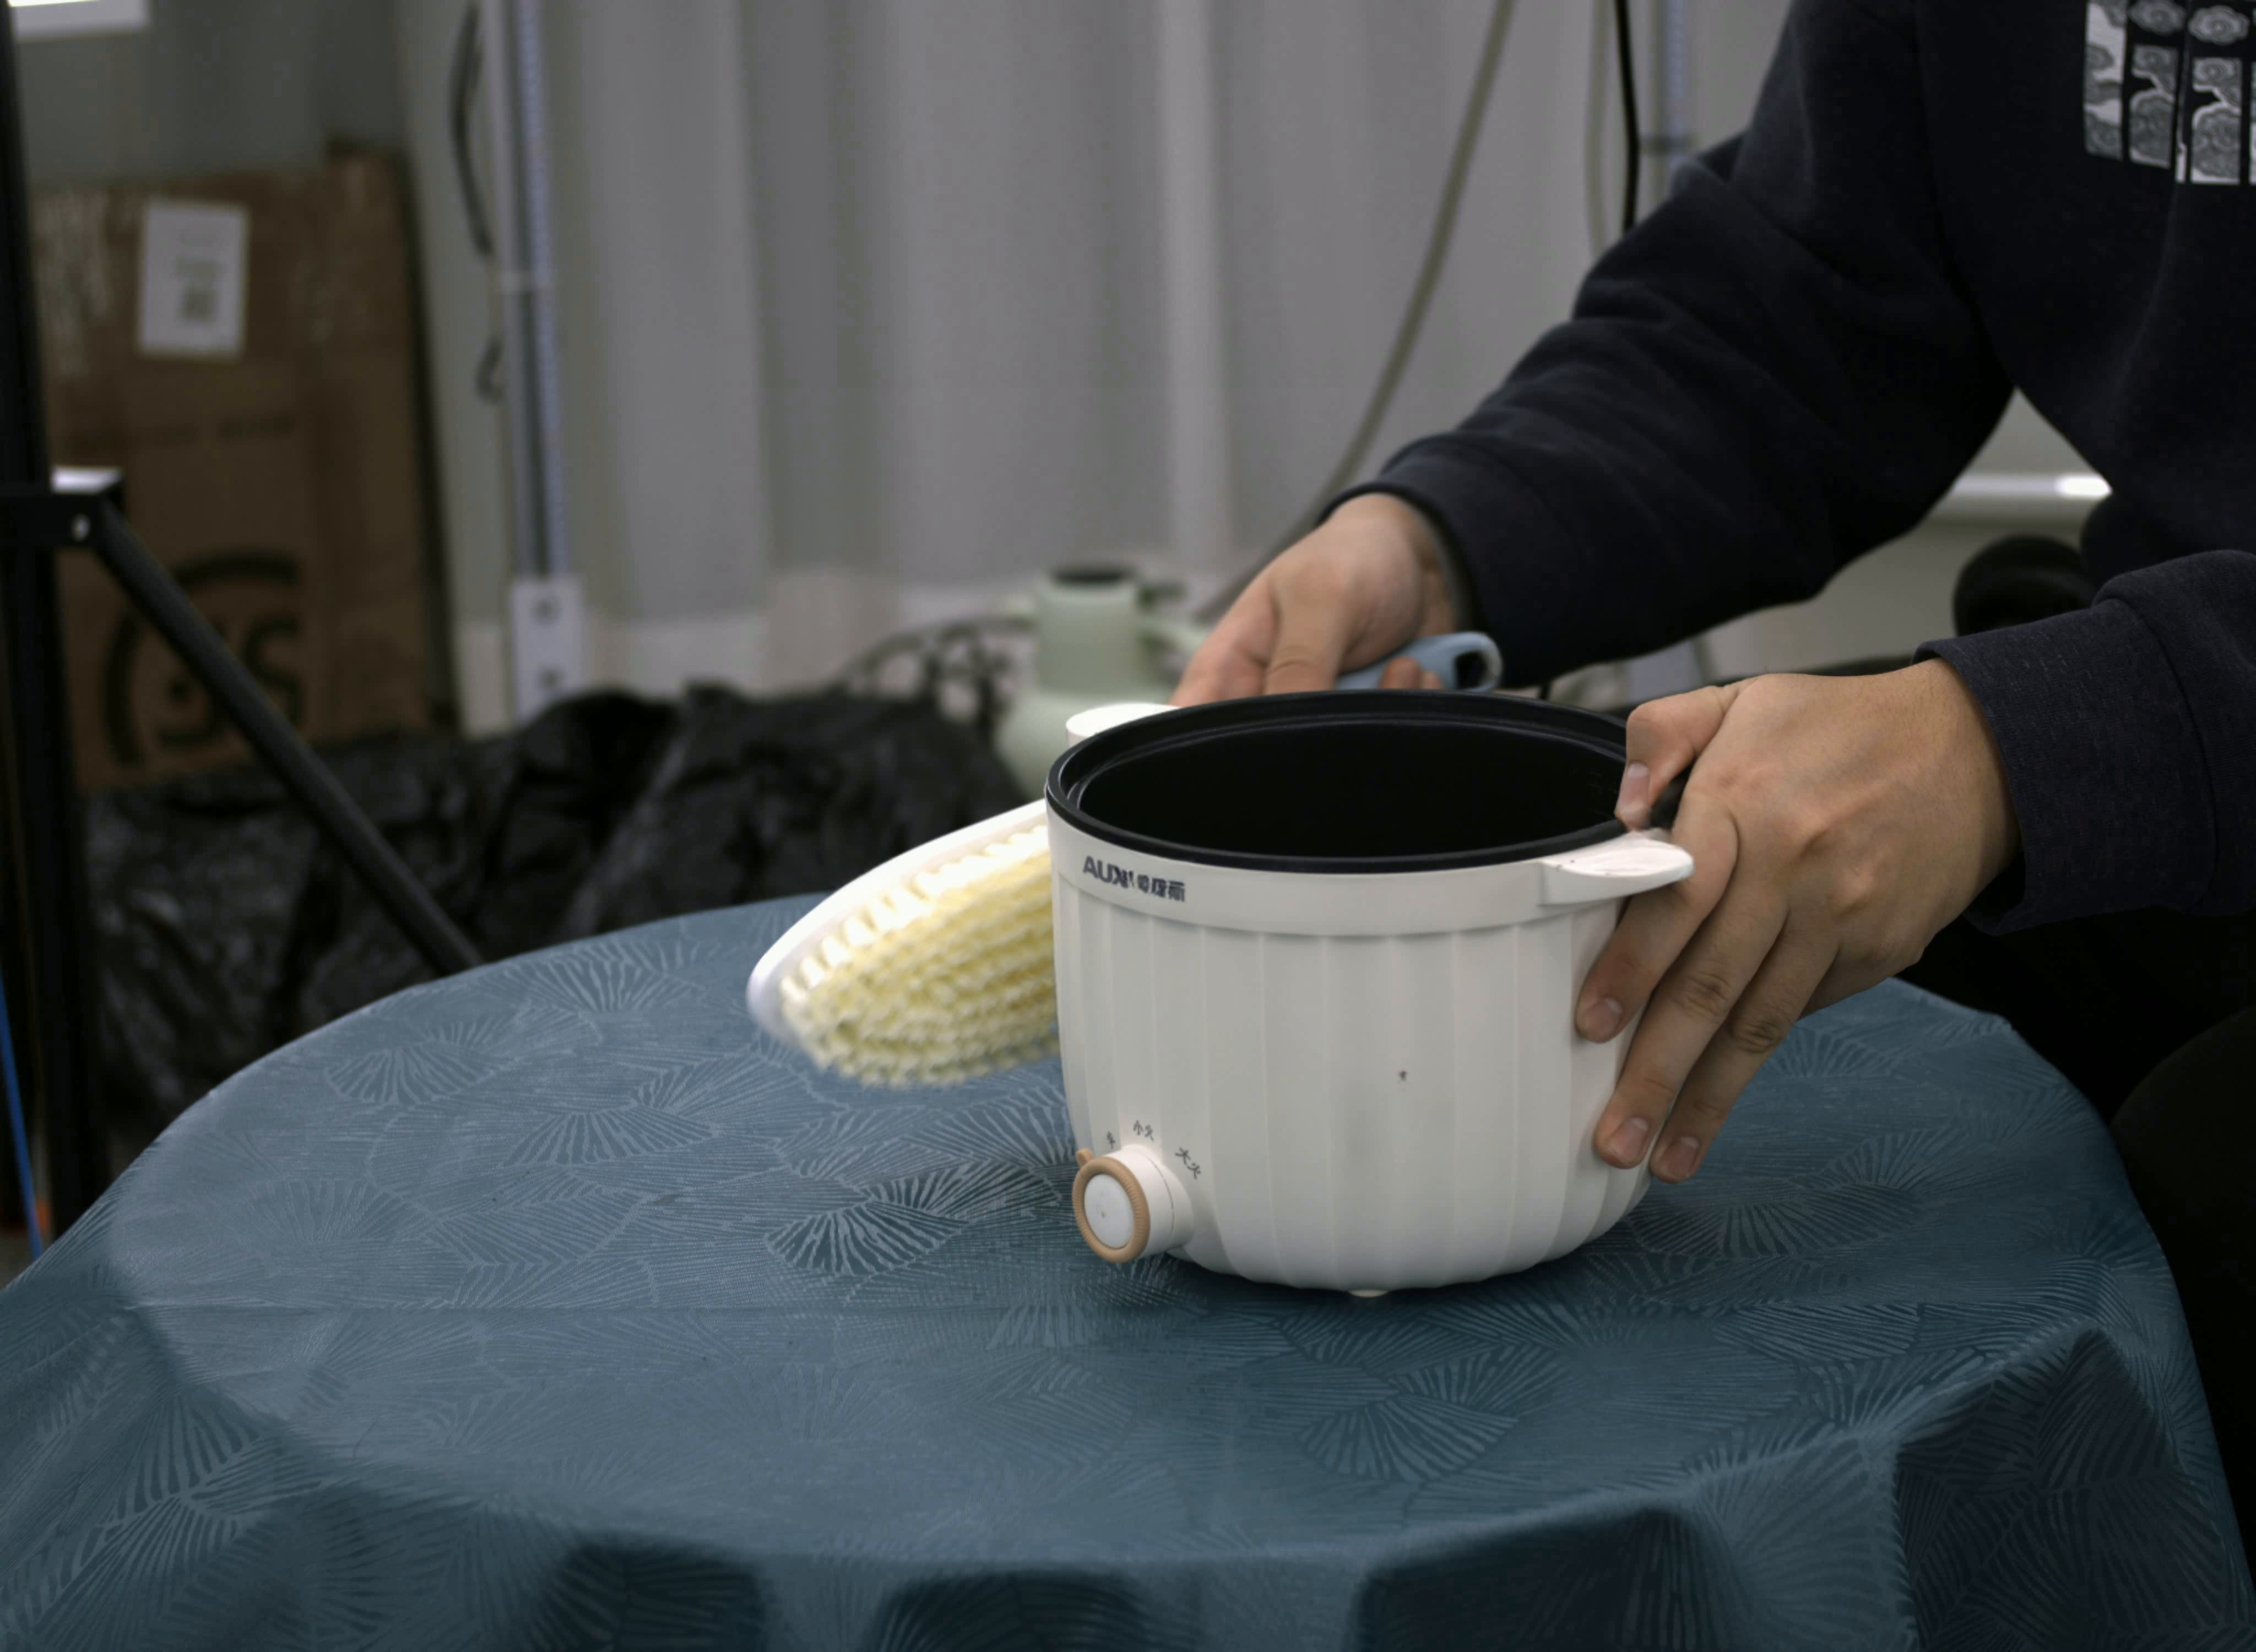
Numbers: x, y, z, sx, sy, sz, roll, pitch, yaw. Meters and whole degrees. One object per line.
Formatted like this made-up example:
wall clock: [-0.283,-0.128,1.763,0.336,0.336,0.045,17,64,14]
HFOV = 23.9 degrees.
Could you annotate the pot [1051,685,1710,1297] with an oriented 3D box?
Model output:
pot: [0.066,0.049,1.501,0.186,0.143,0.246,-11,17,-39]

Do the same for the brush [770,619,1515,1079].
brush: [0.030,-0.003,1.628,0.319,0.083,0.086,-26,63,-37]
